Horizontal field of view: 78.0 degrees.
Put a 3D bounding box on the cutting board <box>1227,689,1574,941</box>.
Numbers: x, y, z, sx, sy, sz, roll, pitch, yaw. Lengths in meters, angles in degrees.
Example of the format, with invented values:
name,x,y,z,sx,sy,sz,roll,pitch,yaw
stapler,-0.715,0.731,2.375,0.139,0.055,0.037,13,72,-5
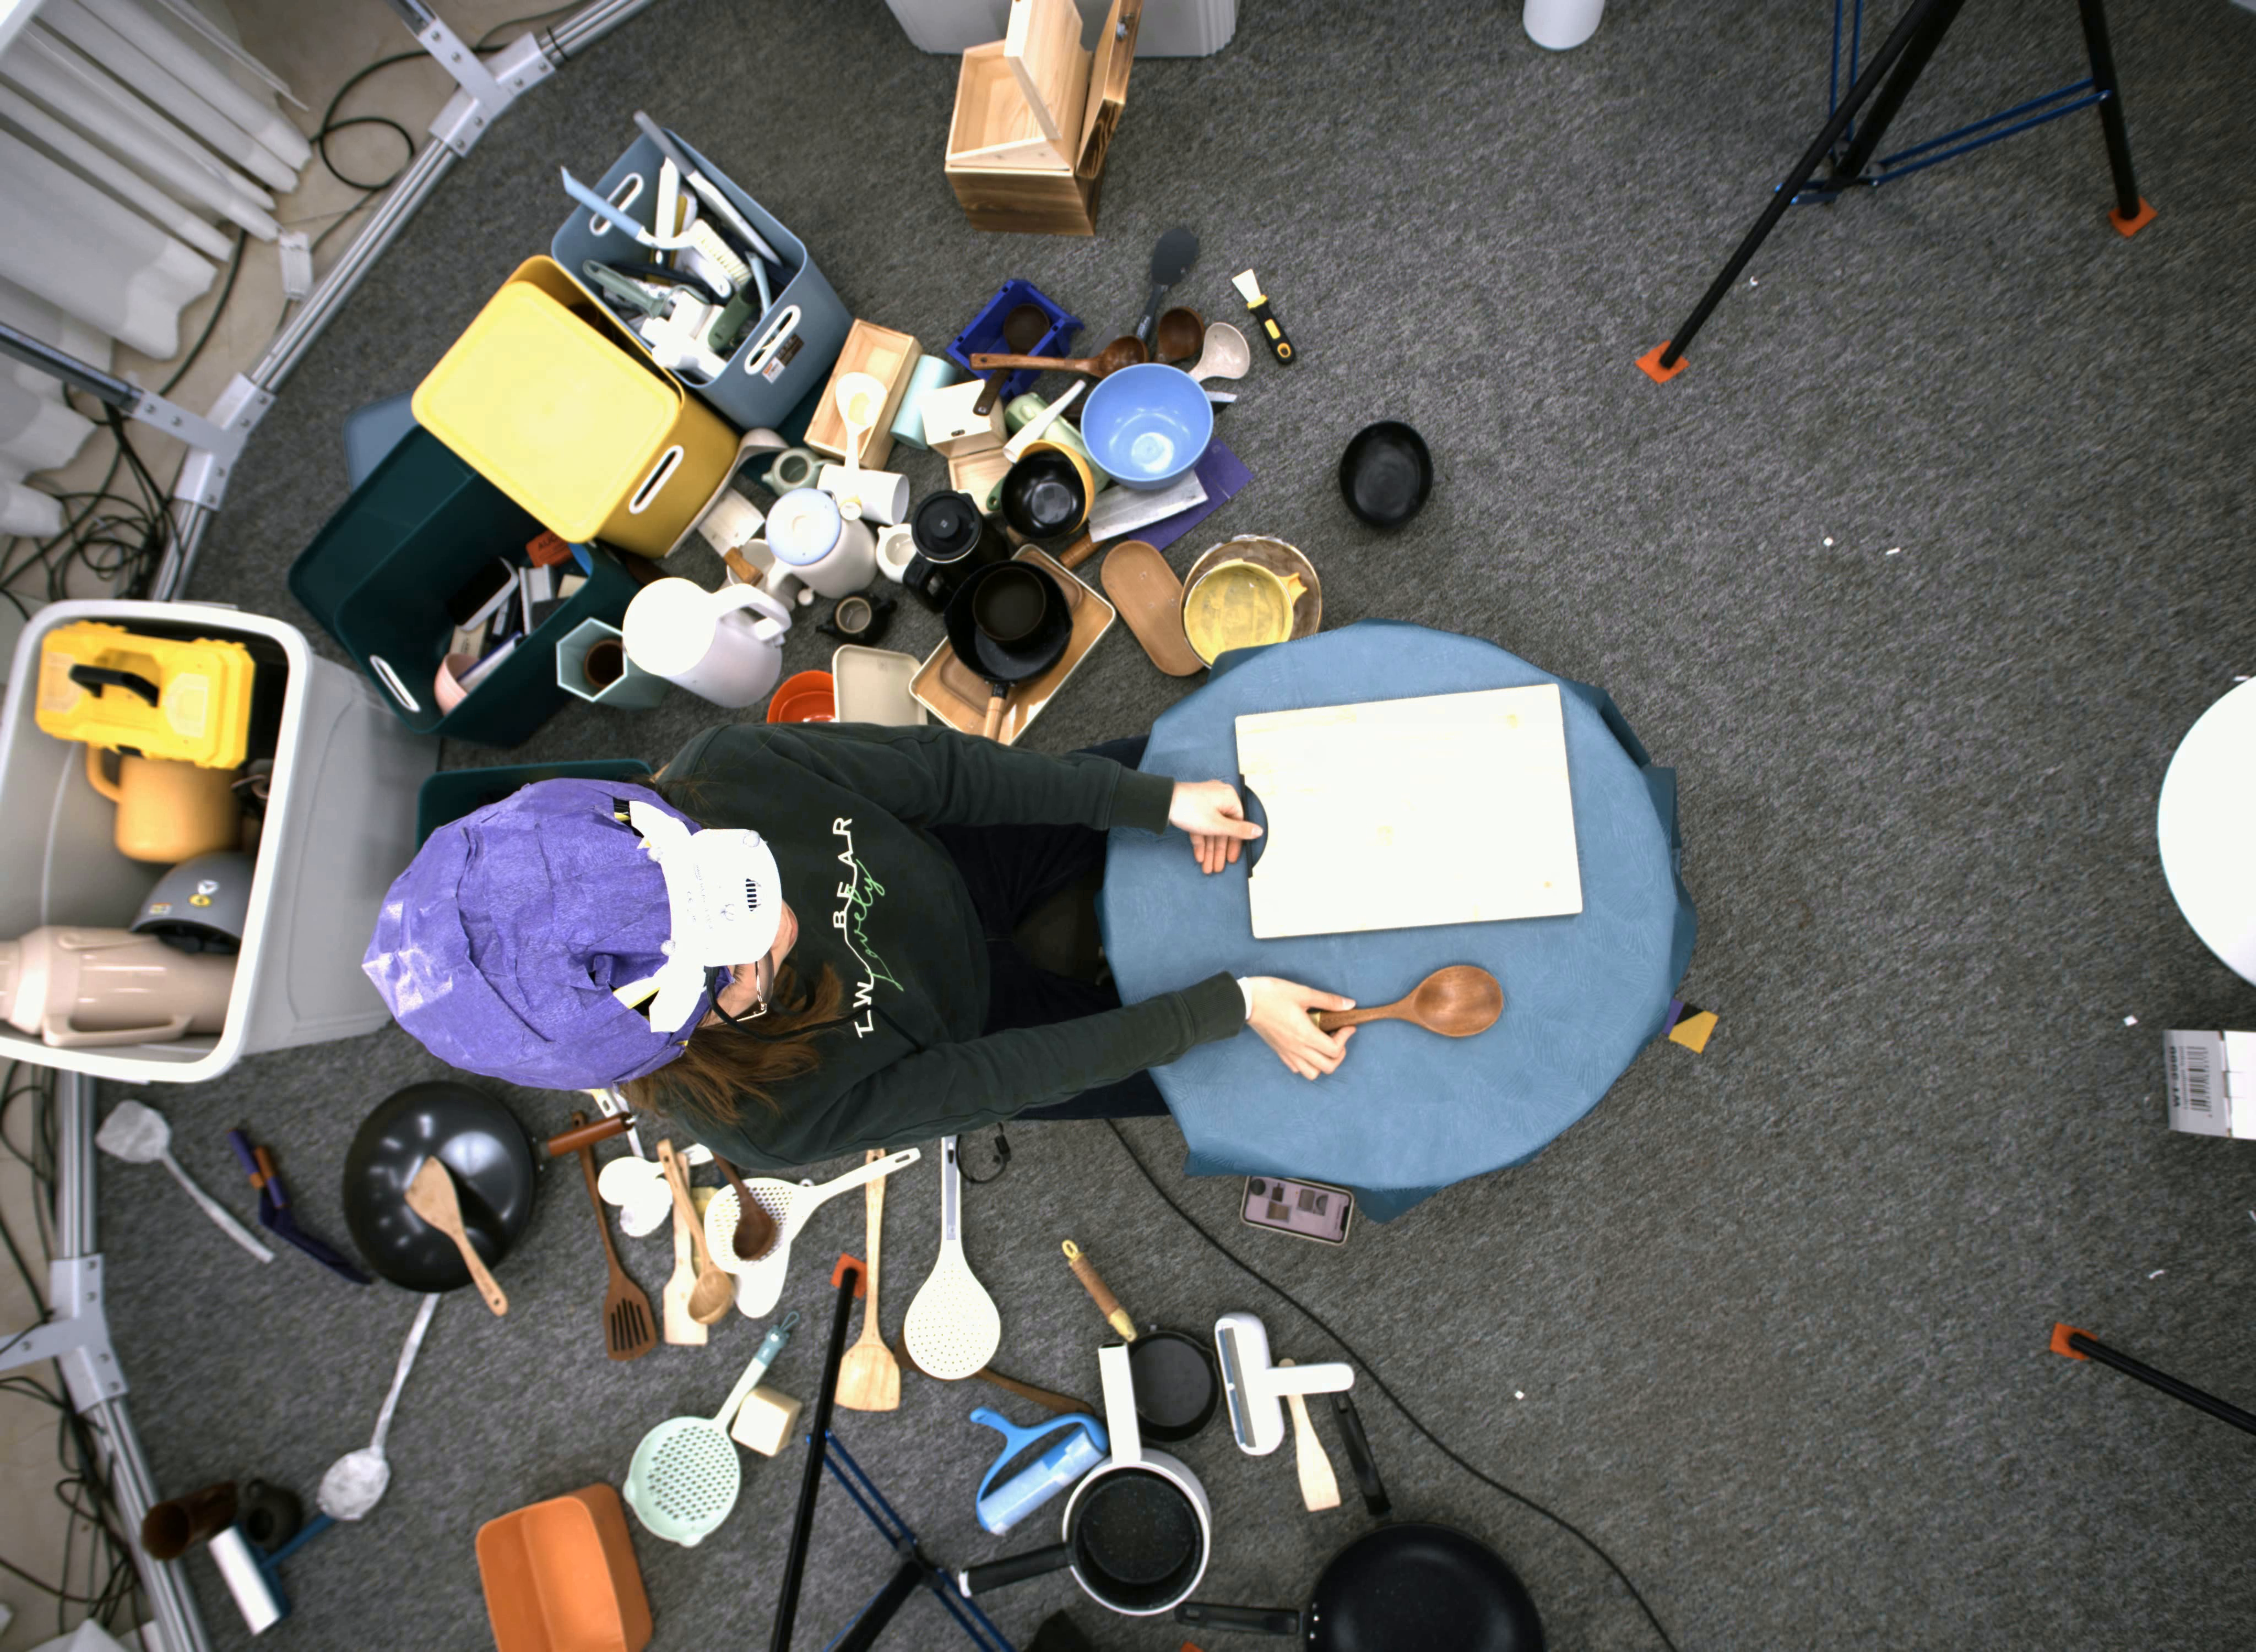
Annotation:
name,x,y,z,sx,sy,sz,roll,pitch,yaw
cutting board,0.288,-0.012,1.459,0.350,0.023,0.249,-6,84,10

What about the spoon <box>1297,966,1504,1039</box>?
name,x,y,z,sx,sy,sz,roll,pitch,yaw
spoon,0.283,0.193,1.445,0.217,0.017,0.075,-10,86,9
